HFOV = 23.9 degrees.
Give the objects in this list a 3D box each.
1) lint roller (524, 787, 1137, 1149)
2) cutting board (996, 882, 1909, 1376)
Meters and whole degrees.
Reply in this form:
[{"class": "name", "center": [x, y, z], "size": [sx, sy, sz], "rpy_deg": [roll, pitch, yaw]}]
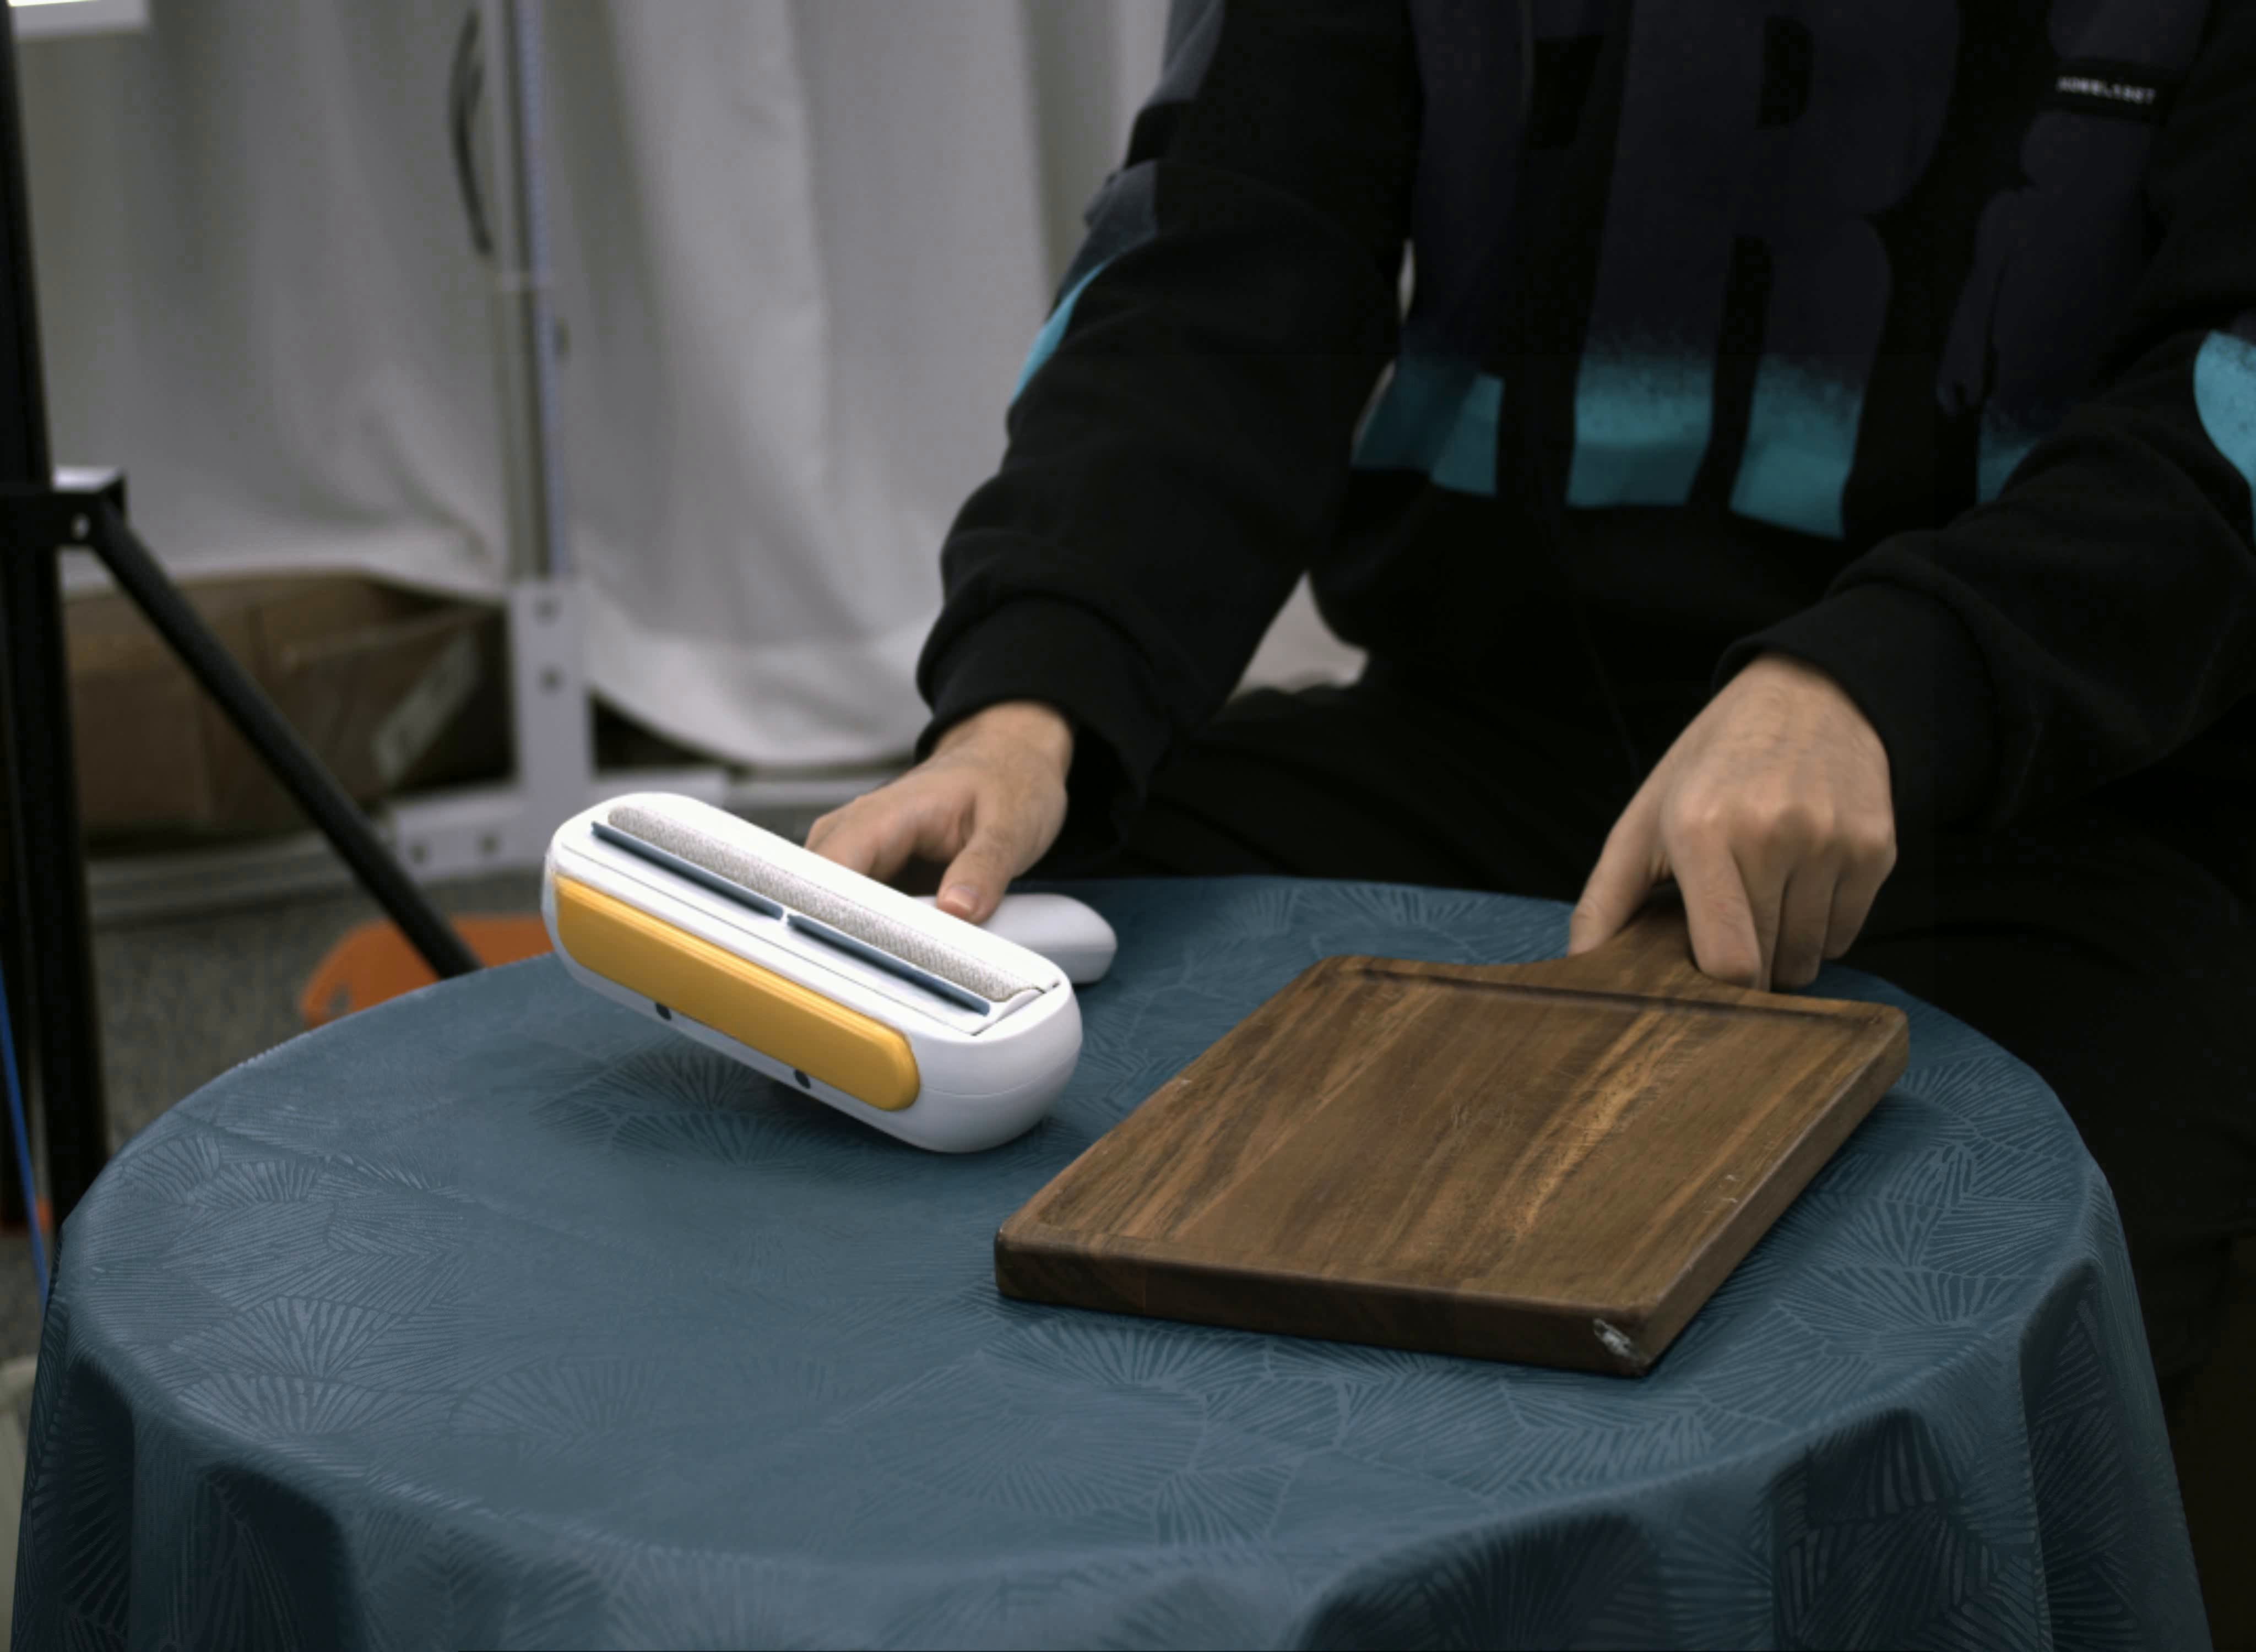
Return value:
[{"class": "lint roller", "center": [-0.068, 0.037, 1.695], "size": [0.197, 0.074, 0.188], "rpy_deg": [20, 25, 38]}, {"class": "cutting board", "center": [0.120, 0.080, 1.578], "size": [0.204, 0.023, 0.347], "rpy_deg": [4, 19, 25]}]
